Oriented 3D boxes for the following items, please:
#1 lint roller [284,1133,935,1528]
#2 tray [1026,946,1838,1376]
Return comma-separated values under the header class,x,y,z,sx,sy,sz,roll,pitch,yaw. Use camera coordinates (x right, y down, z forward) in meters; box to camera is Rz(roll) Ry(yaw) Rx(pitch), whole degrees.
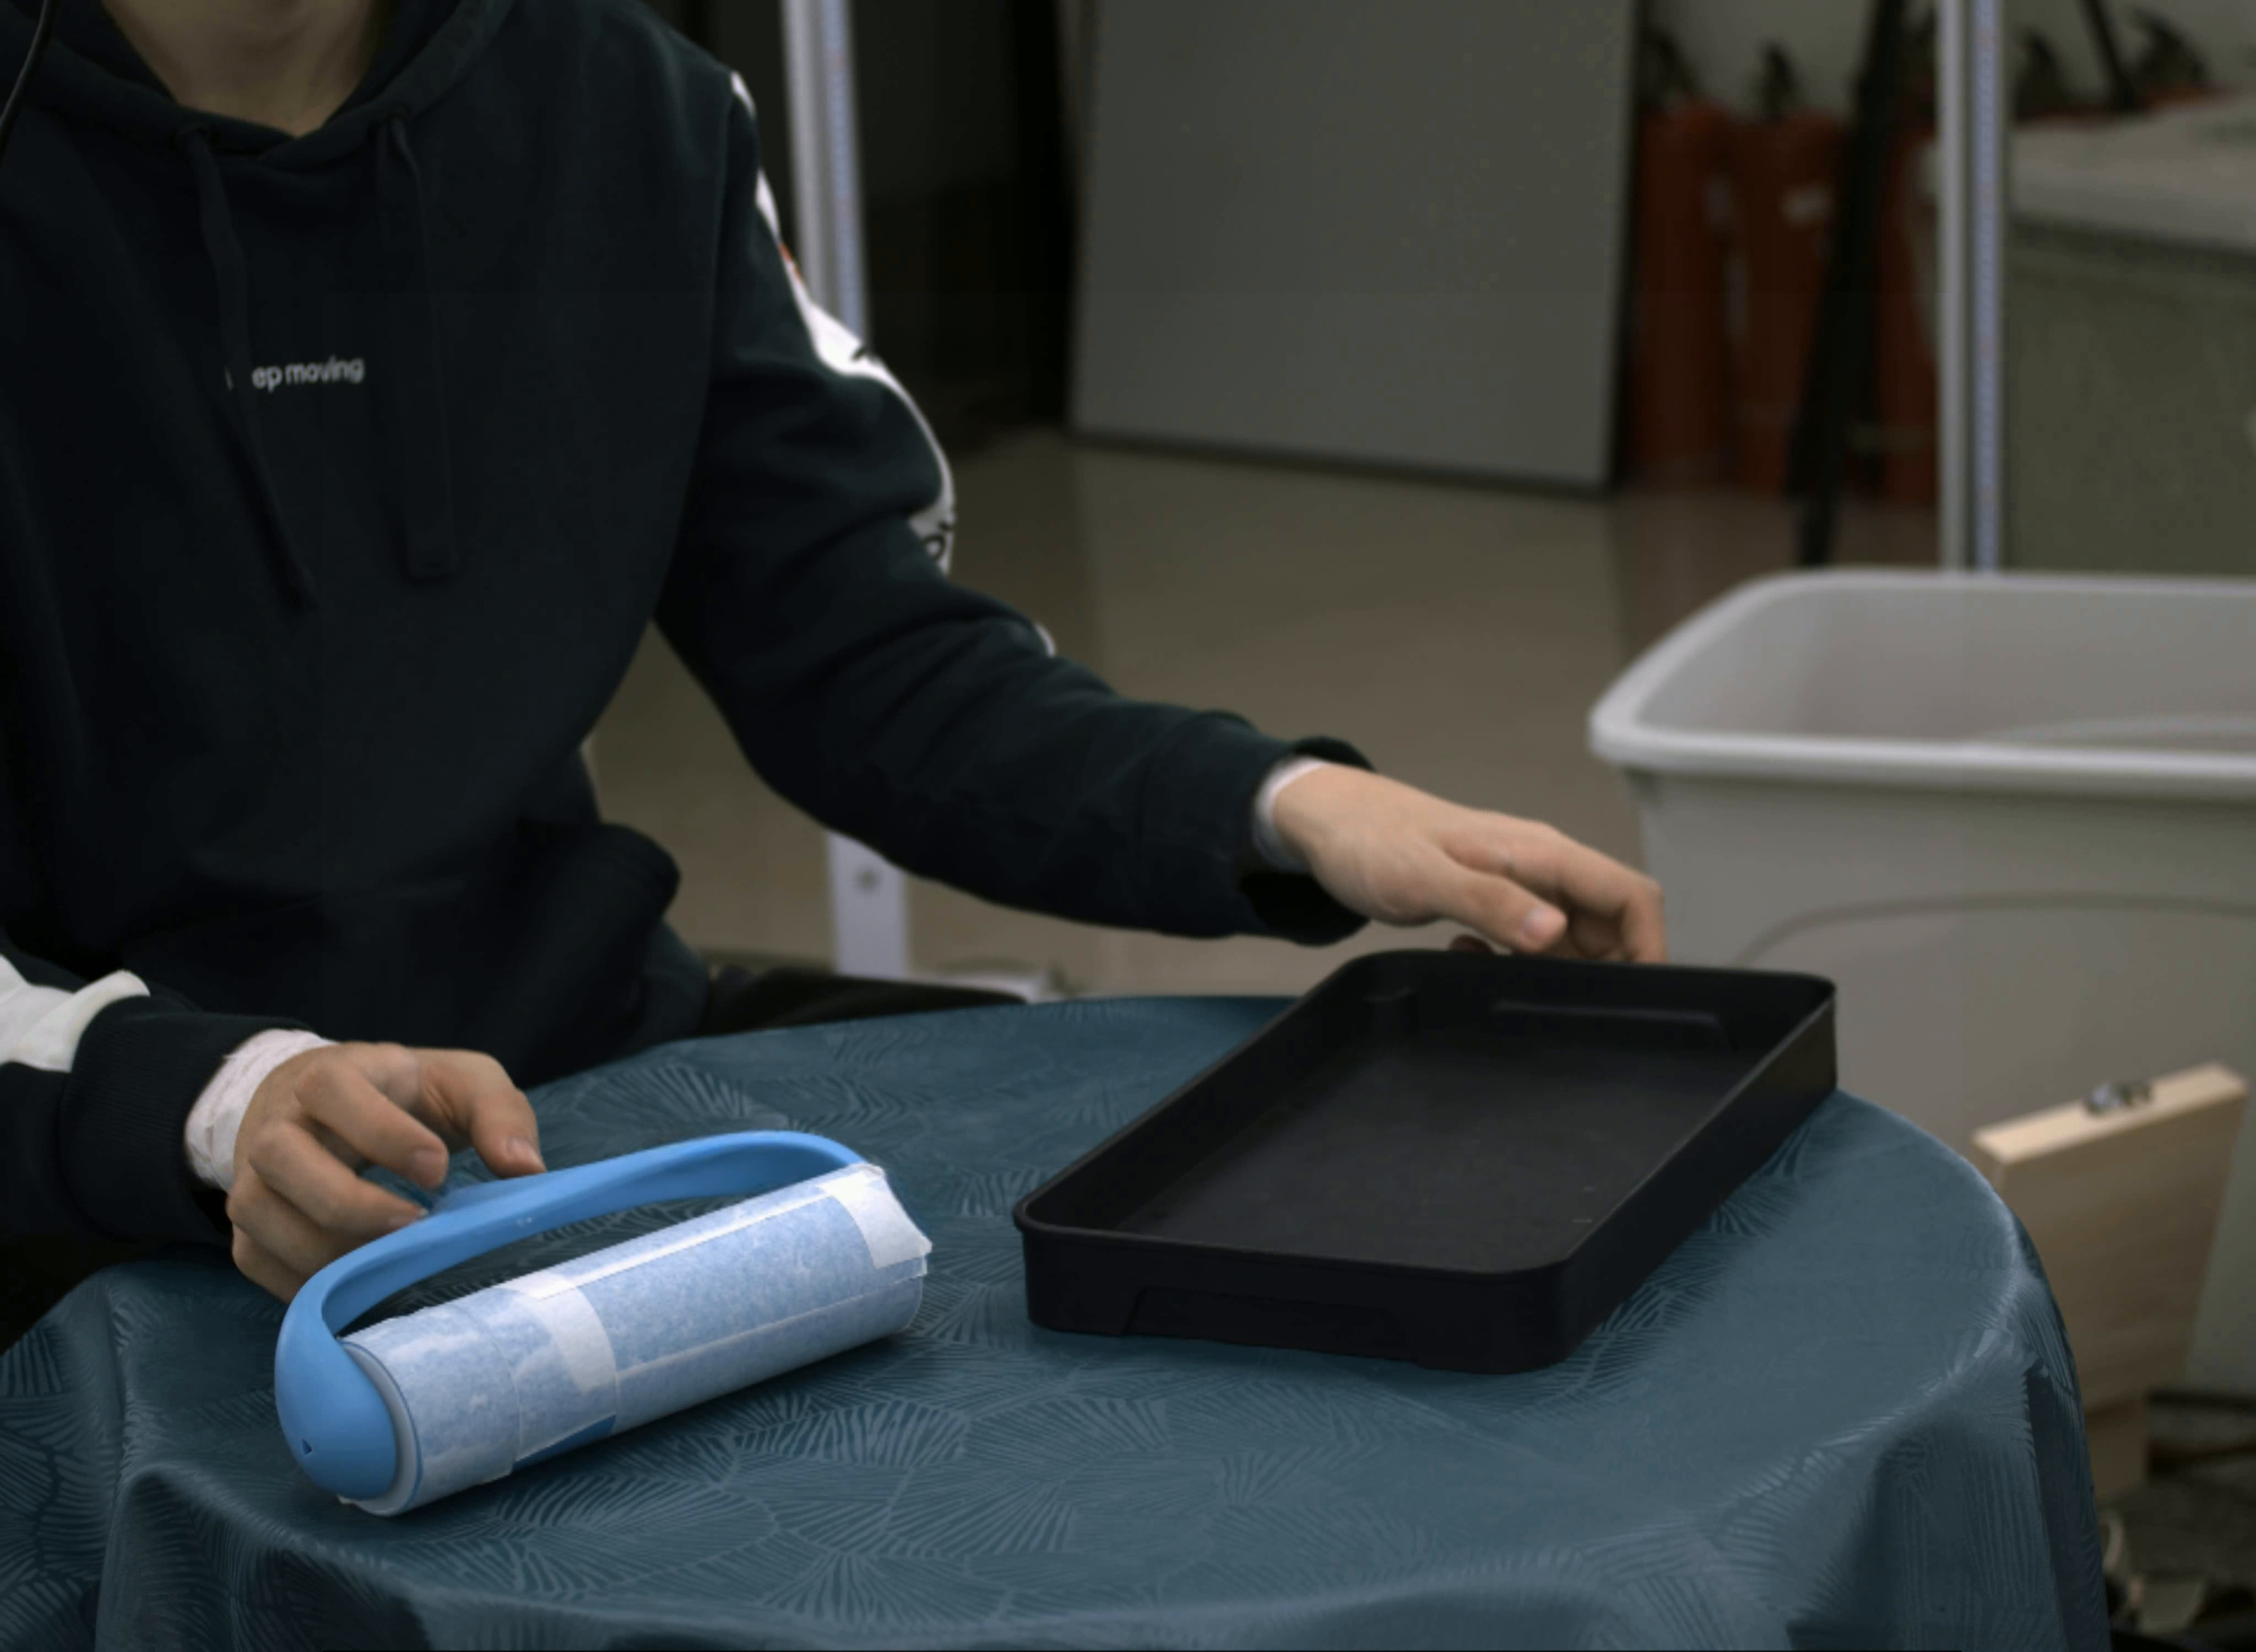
class,x,y,z,sx,sy,sz,roll,pitch,yaw
lint roller,-0.188,0.141,1.627,0.182,0.068,0.224,11,22,44
tray,0.107,0.102,1.745,0.184,0.037,0.314,1,16,24
